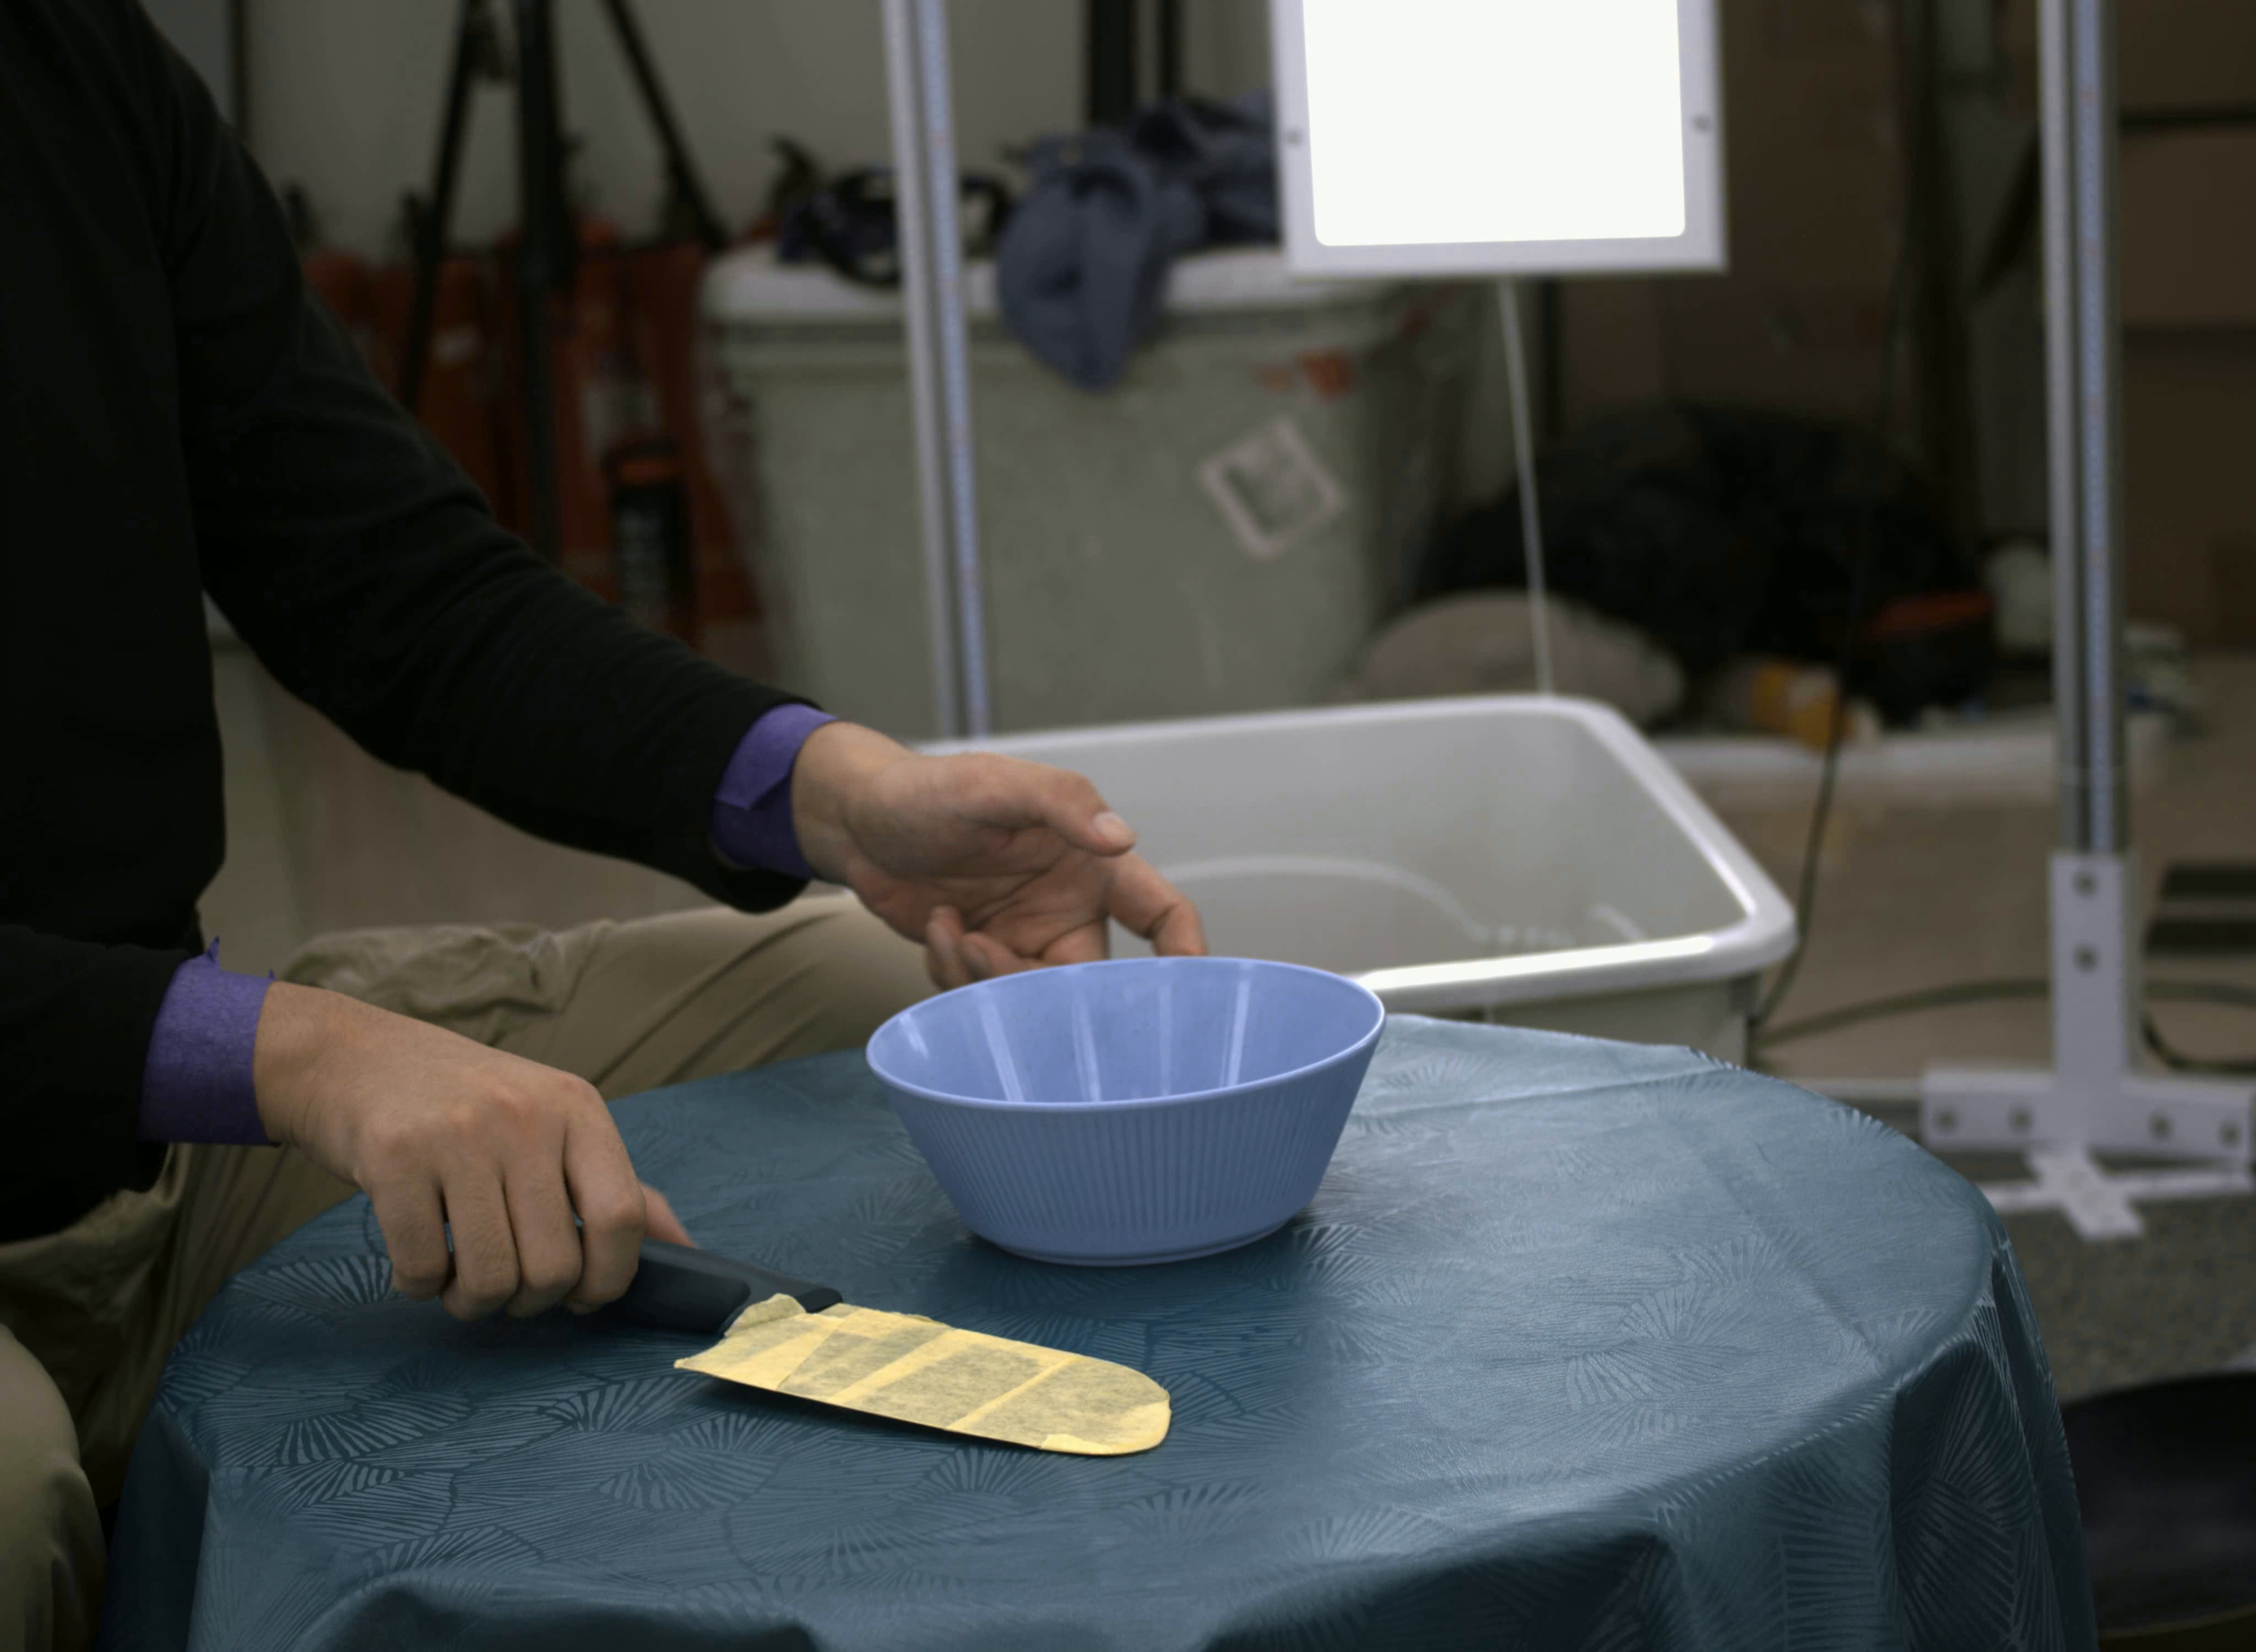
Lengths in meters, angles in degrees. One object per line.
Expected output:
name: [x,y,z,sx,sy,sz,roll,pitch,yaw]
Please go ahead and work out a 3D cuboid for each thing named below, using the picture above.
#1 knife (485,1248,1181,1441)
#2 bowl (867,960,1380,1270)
knife: [-0.102,0.166,1.747,0.295,0.027,0.079,7,16,38]
bowl: [0.001,0.100,1.863,0.175,0.070,0.176,-5,14,0]
